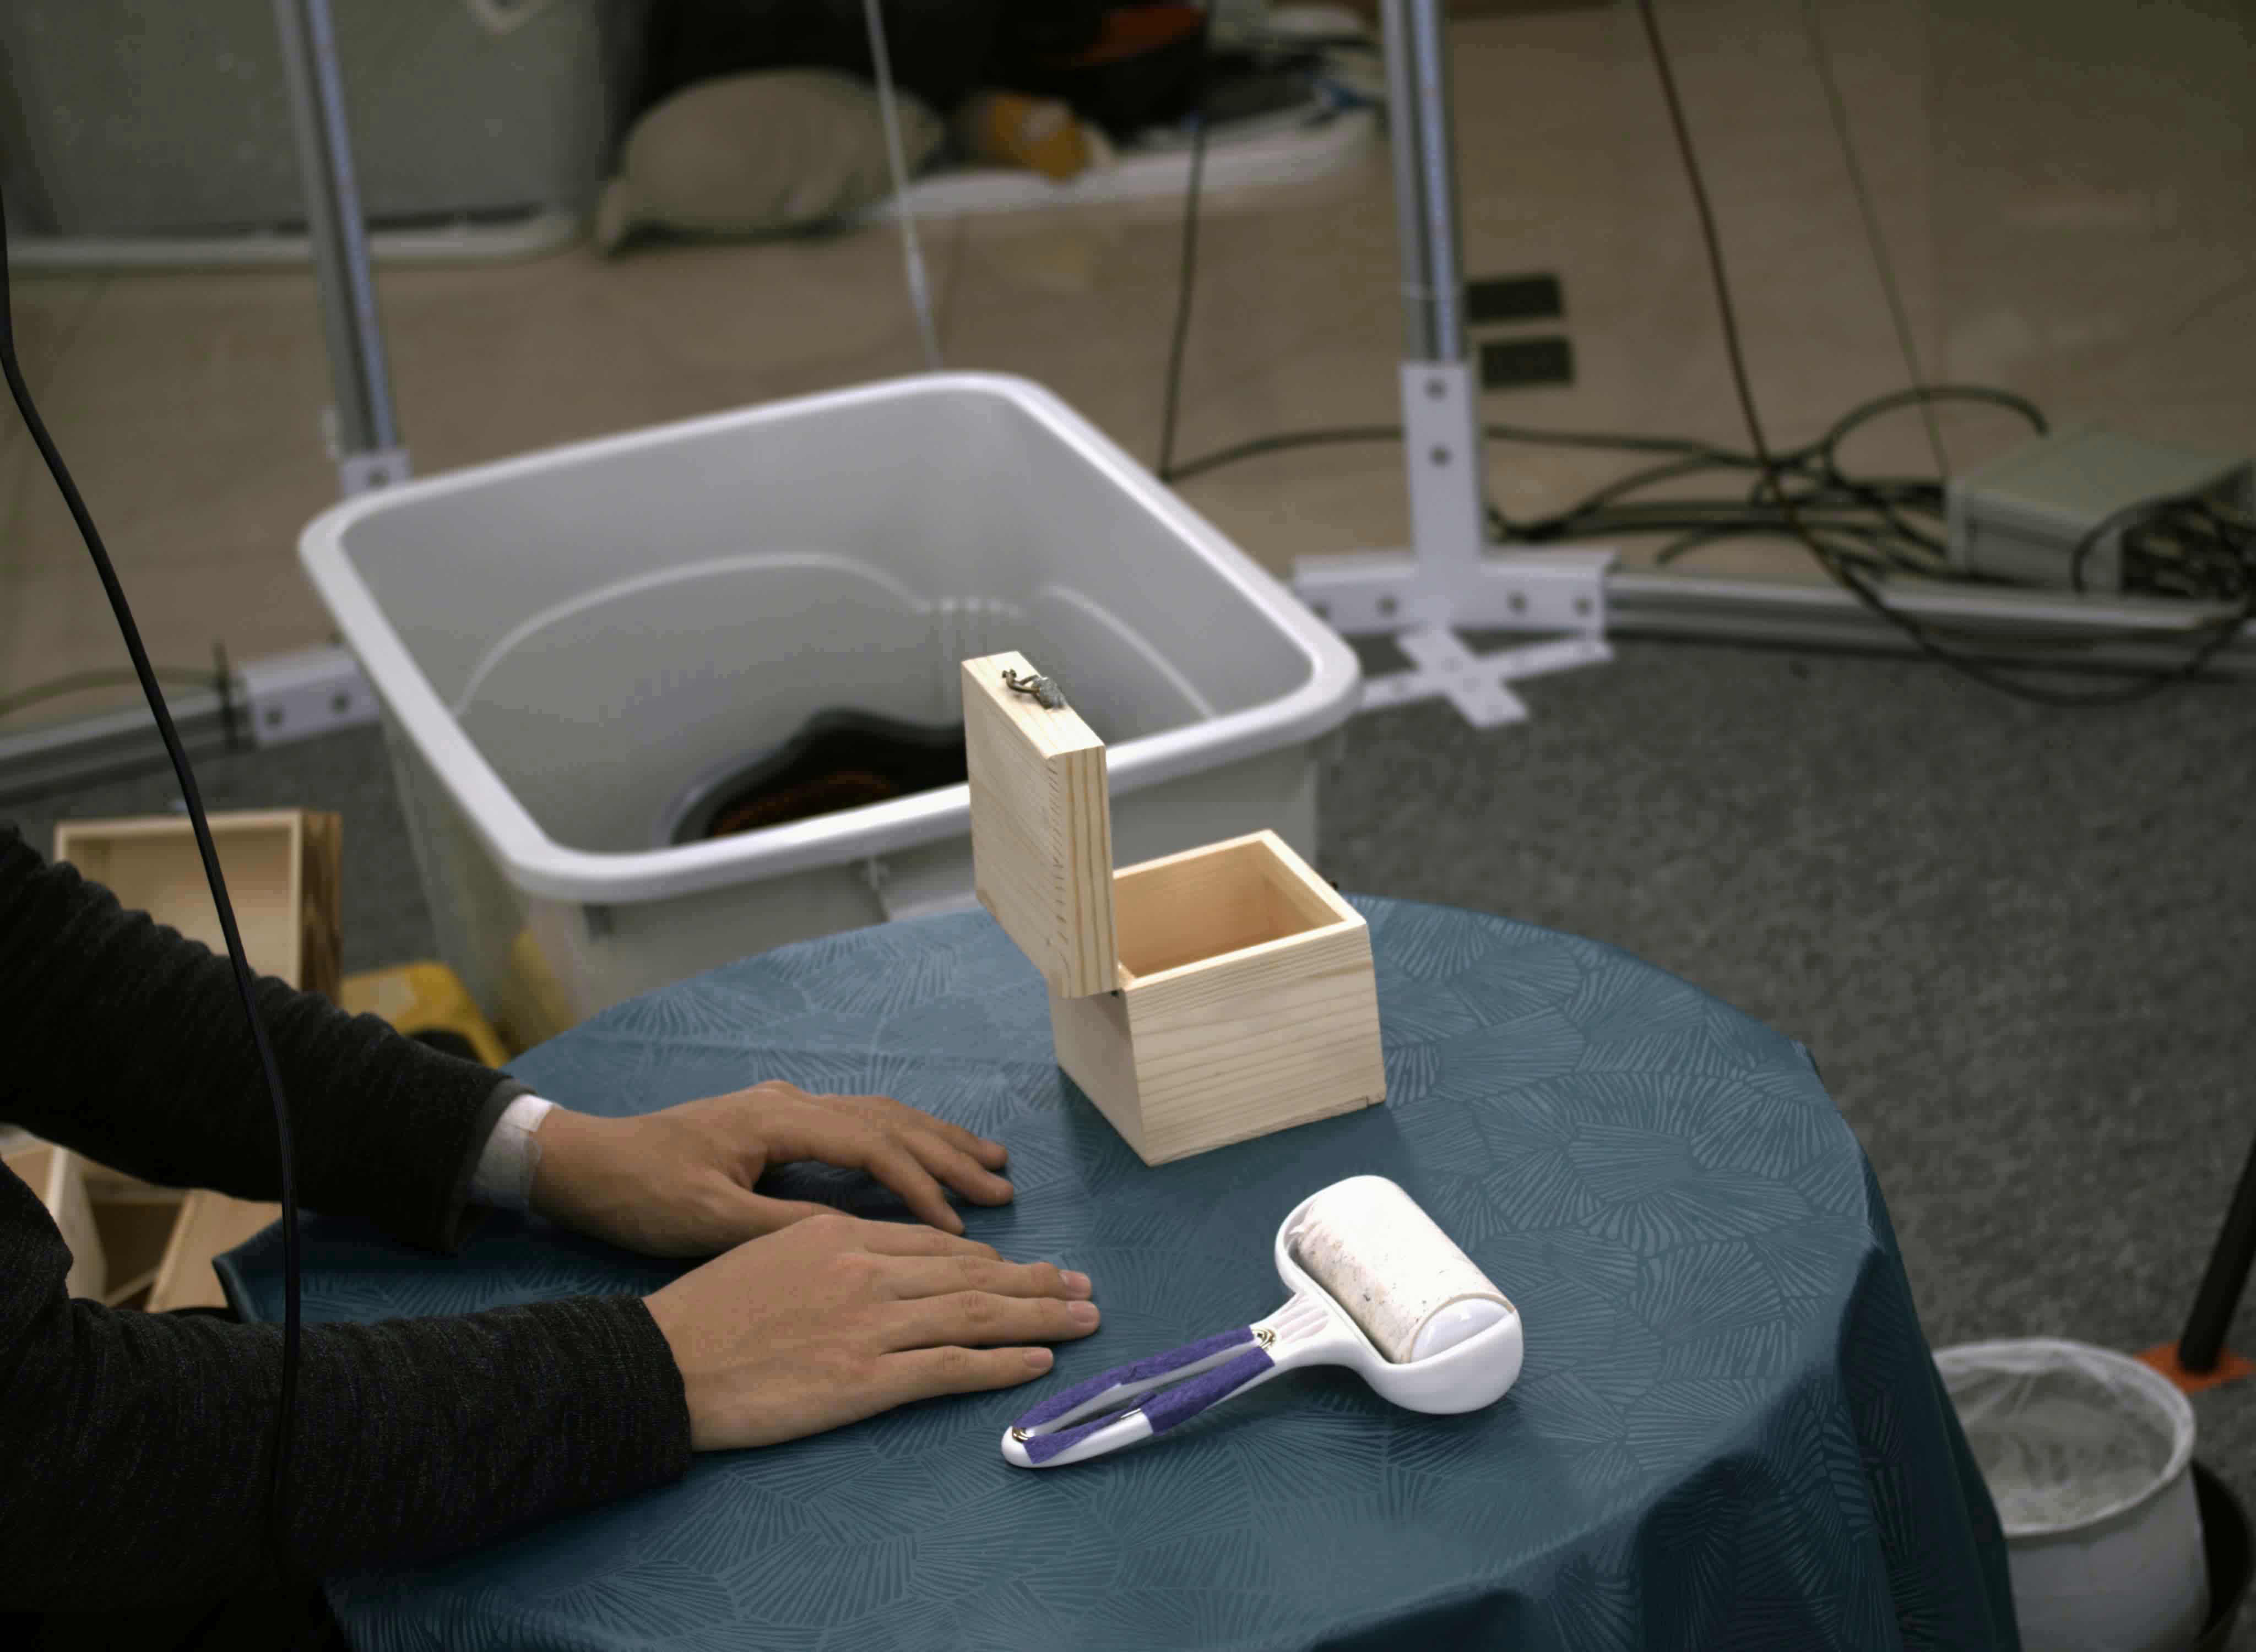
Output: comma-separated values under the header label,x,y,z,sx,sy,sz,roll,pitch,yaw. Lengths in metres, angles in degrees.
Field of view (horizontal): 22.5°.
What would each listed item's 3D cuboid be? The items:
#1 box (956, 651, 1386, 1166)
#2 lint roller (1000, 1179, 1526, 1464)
label,x,y,z,sx,sy,sz,roll,pitch,yaw
box,0.018,0.021,2.177,0.133,0.187,0.101,-15,27,-16
lint roller,0.038,0.180,1.995,0.180,0.051,0.131,-12,26,-16
